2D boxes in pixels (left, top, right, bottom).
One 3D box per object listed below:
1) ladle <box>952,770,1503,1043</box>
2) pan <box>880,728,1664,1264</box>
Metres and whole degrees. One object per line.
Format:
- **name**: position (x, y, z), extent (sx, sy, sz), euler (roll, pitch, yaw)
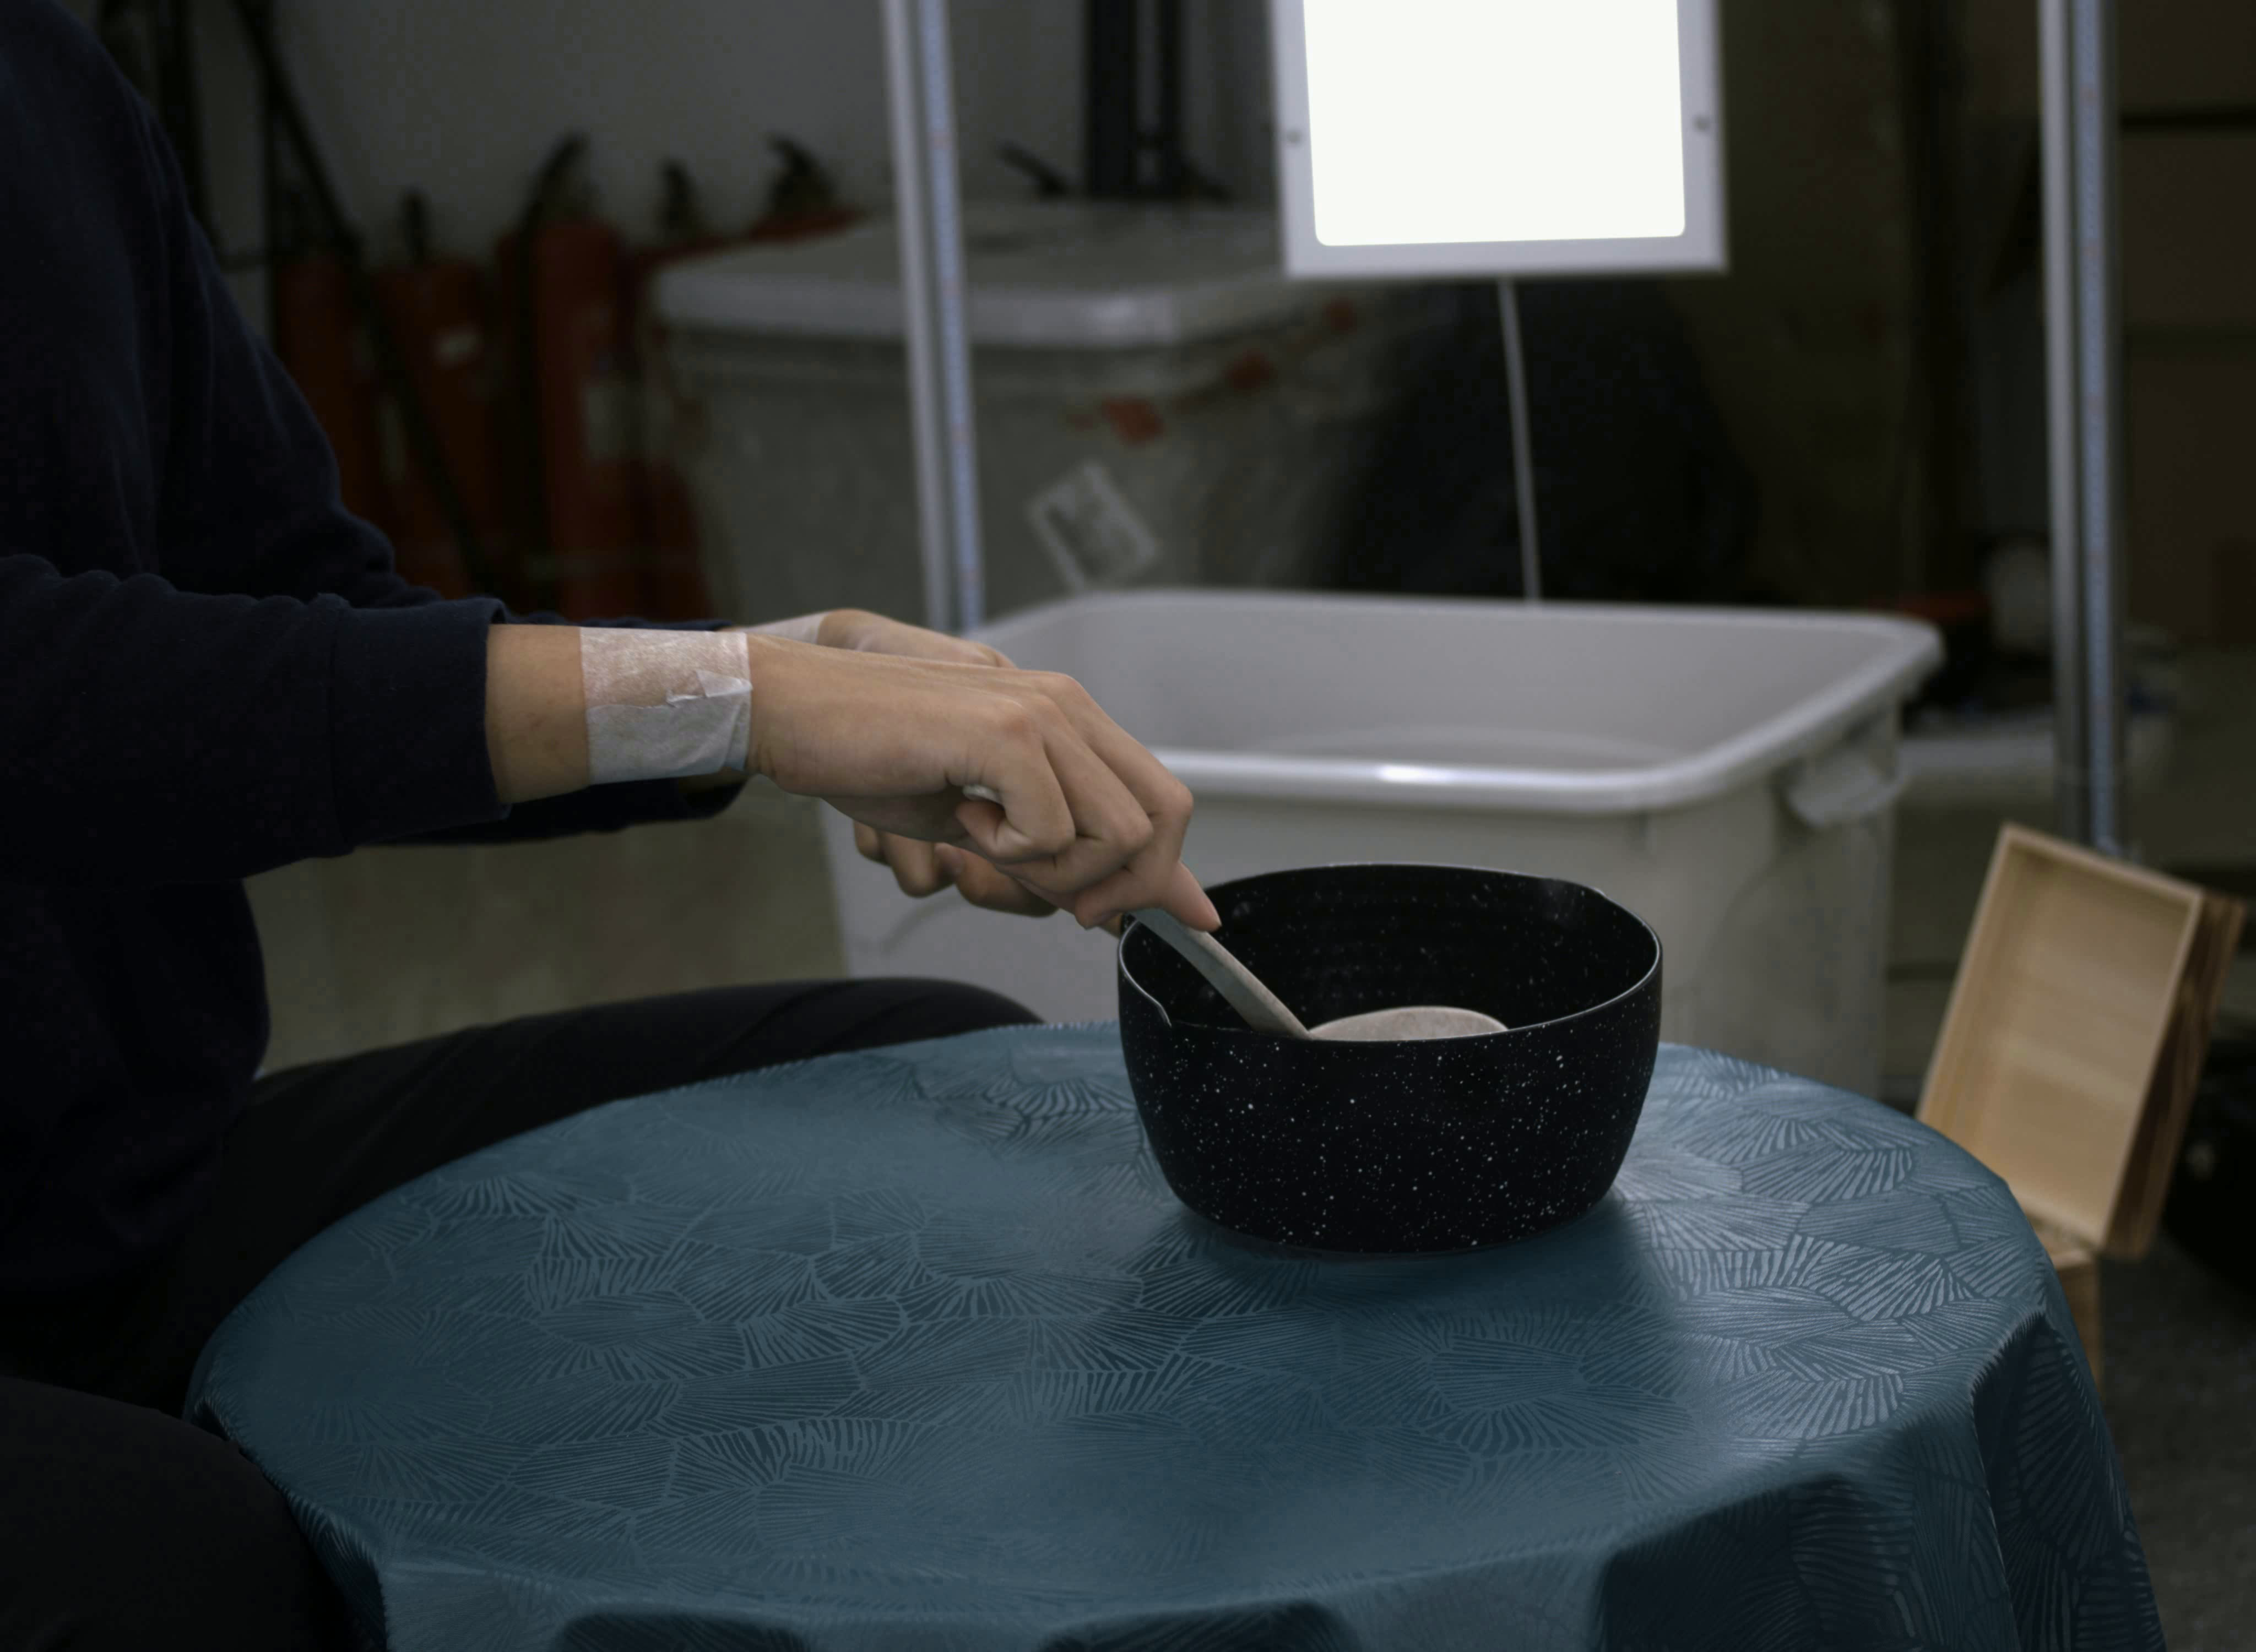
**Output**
- **ladle**: position (0.034, 0.025, 1.757), extent (0.091, 0.069, 0.271), euler (15, -21, 42)
- **pan**: position (0.032, 0.053, 1.909), extent (0.202, 0.109, 0.350), euler (-19, 25, -40)
